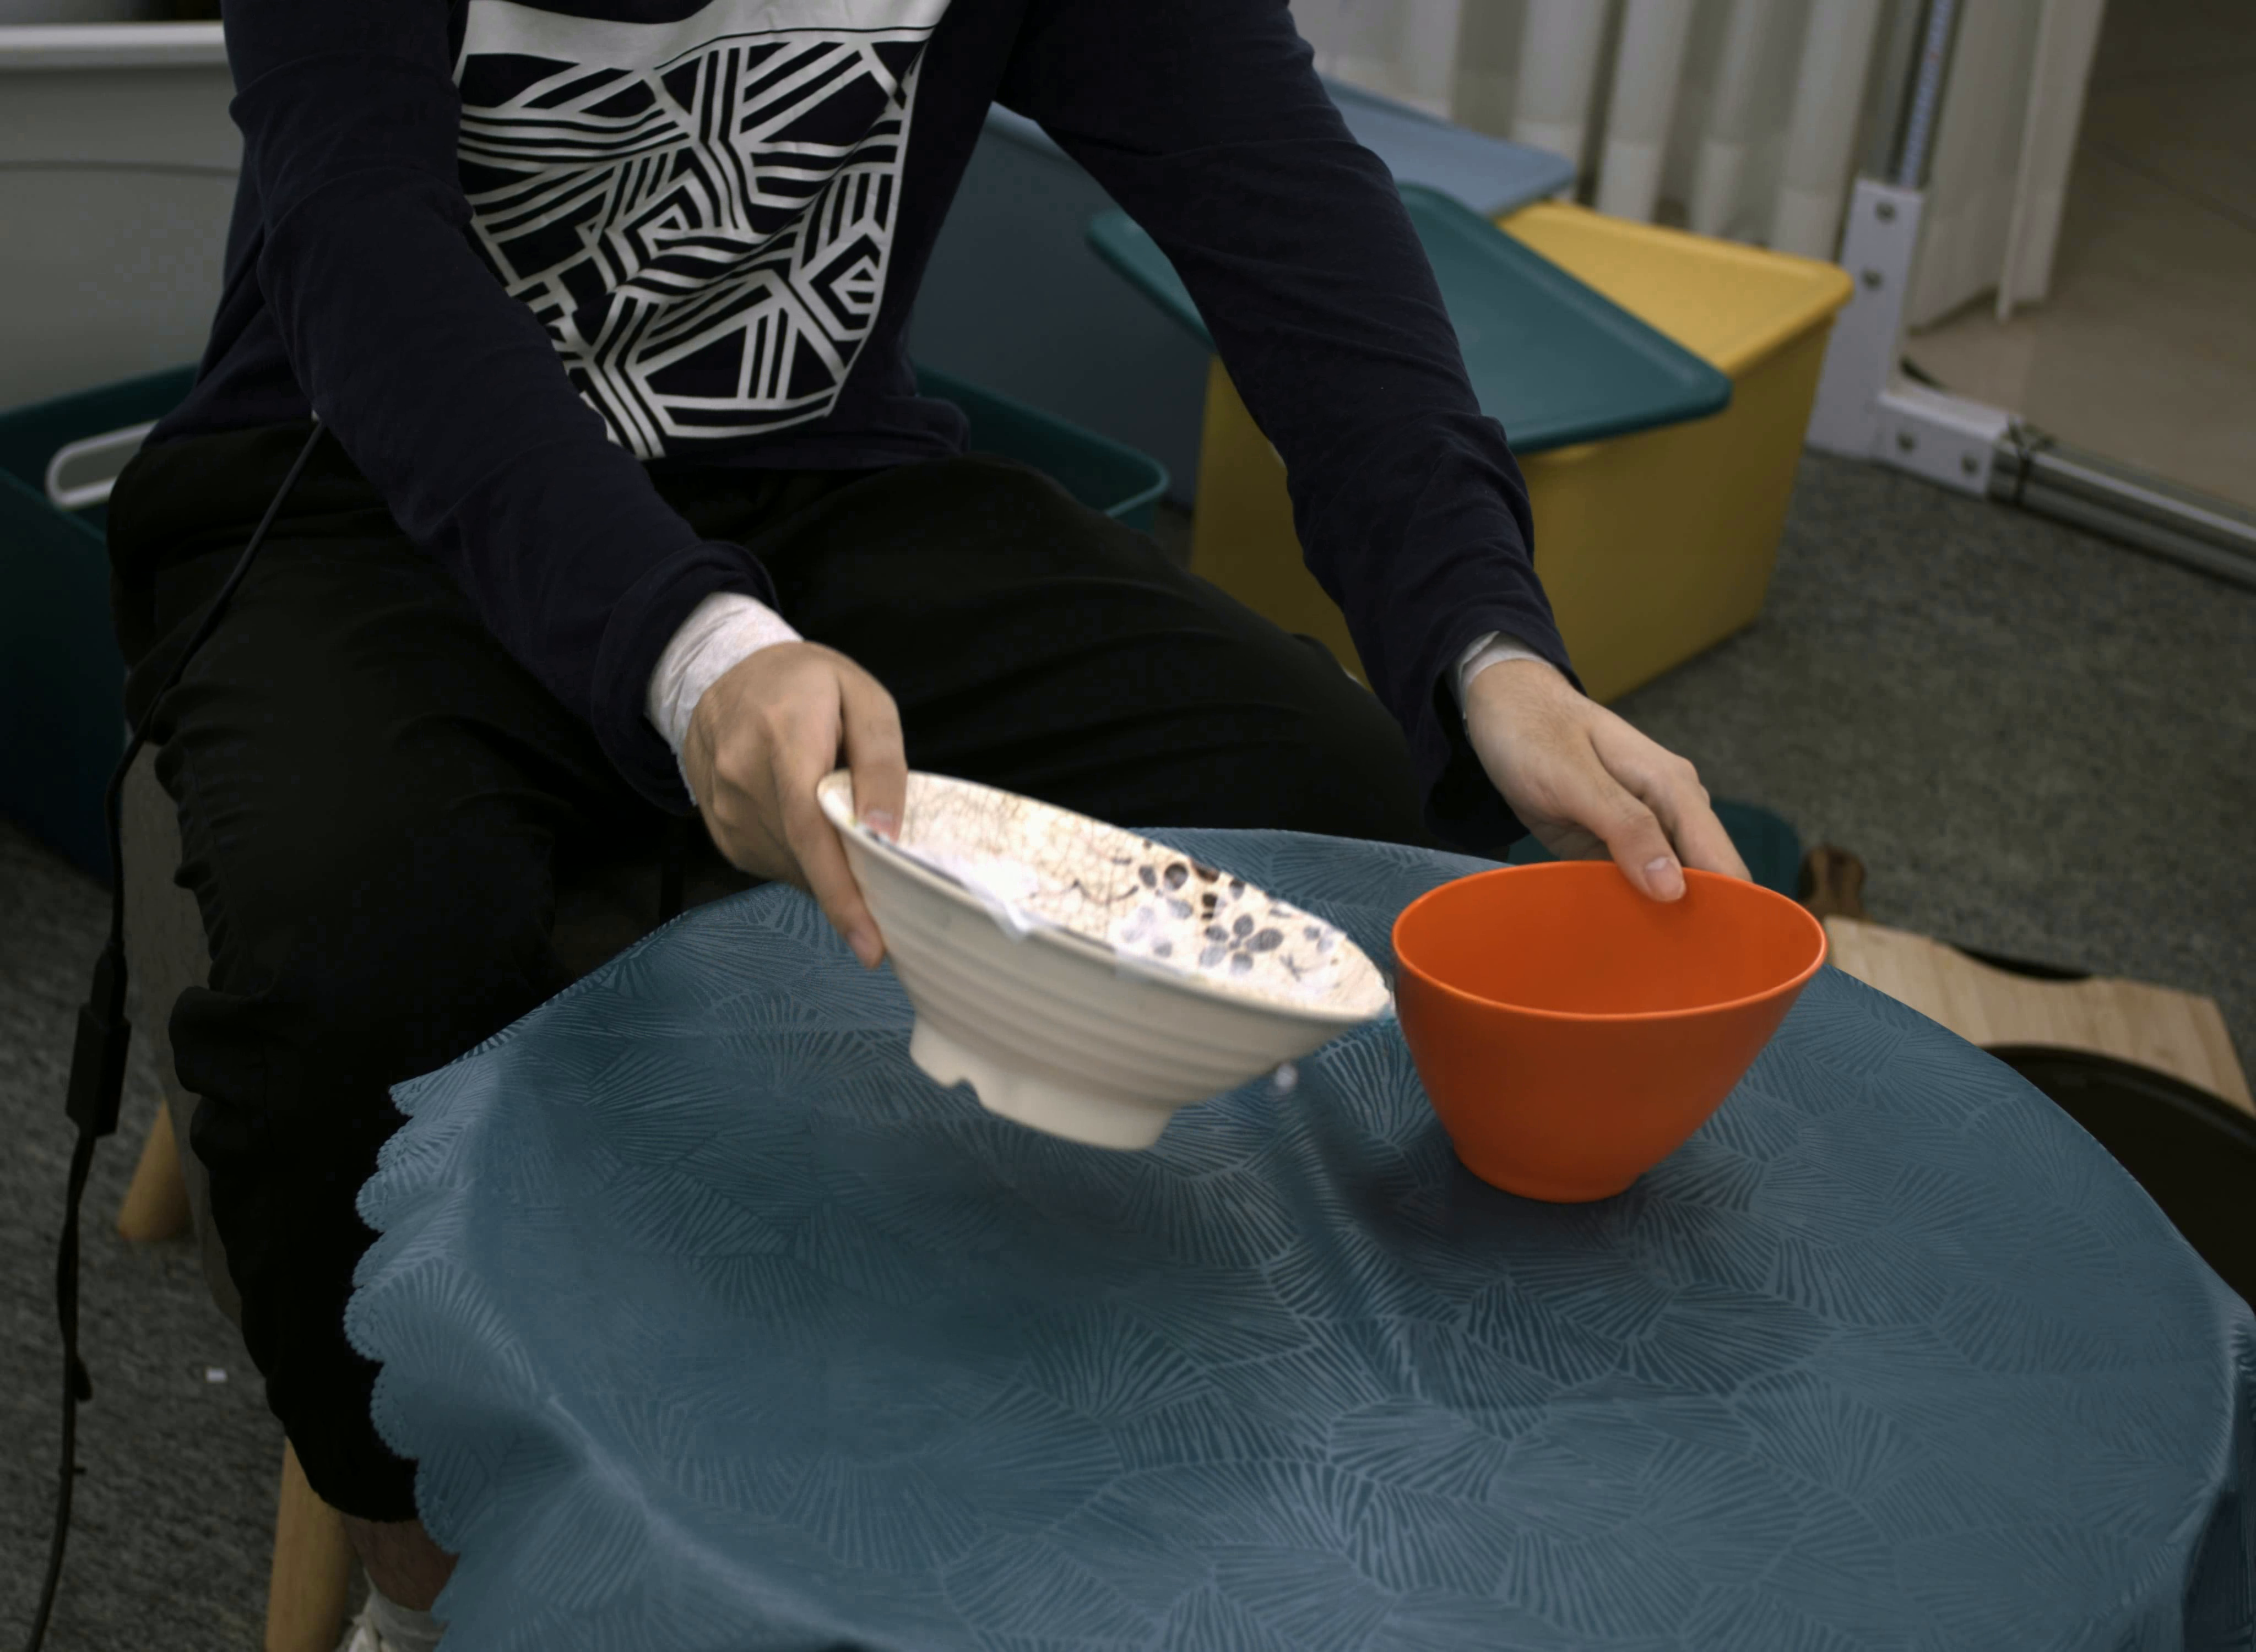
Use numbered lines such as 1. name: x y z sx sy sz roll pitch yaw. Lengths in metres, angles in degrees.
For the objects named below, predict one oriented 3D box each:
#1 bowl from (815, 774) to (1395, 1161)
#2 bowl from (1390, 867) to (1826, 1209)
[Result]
1. bowl: -0.020 0.057 1.745 0.203 0.078 0.204 20 9 -4
2. bowl: 0.159 0.076 1.827 0.147 0.104 0.149 4 25 -2
